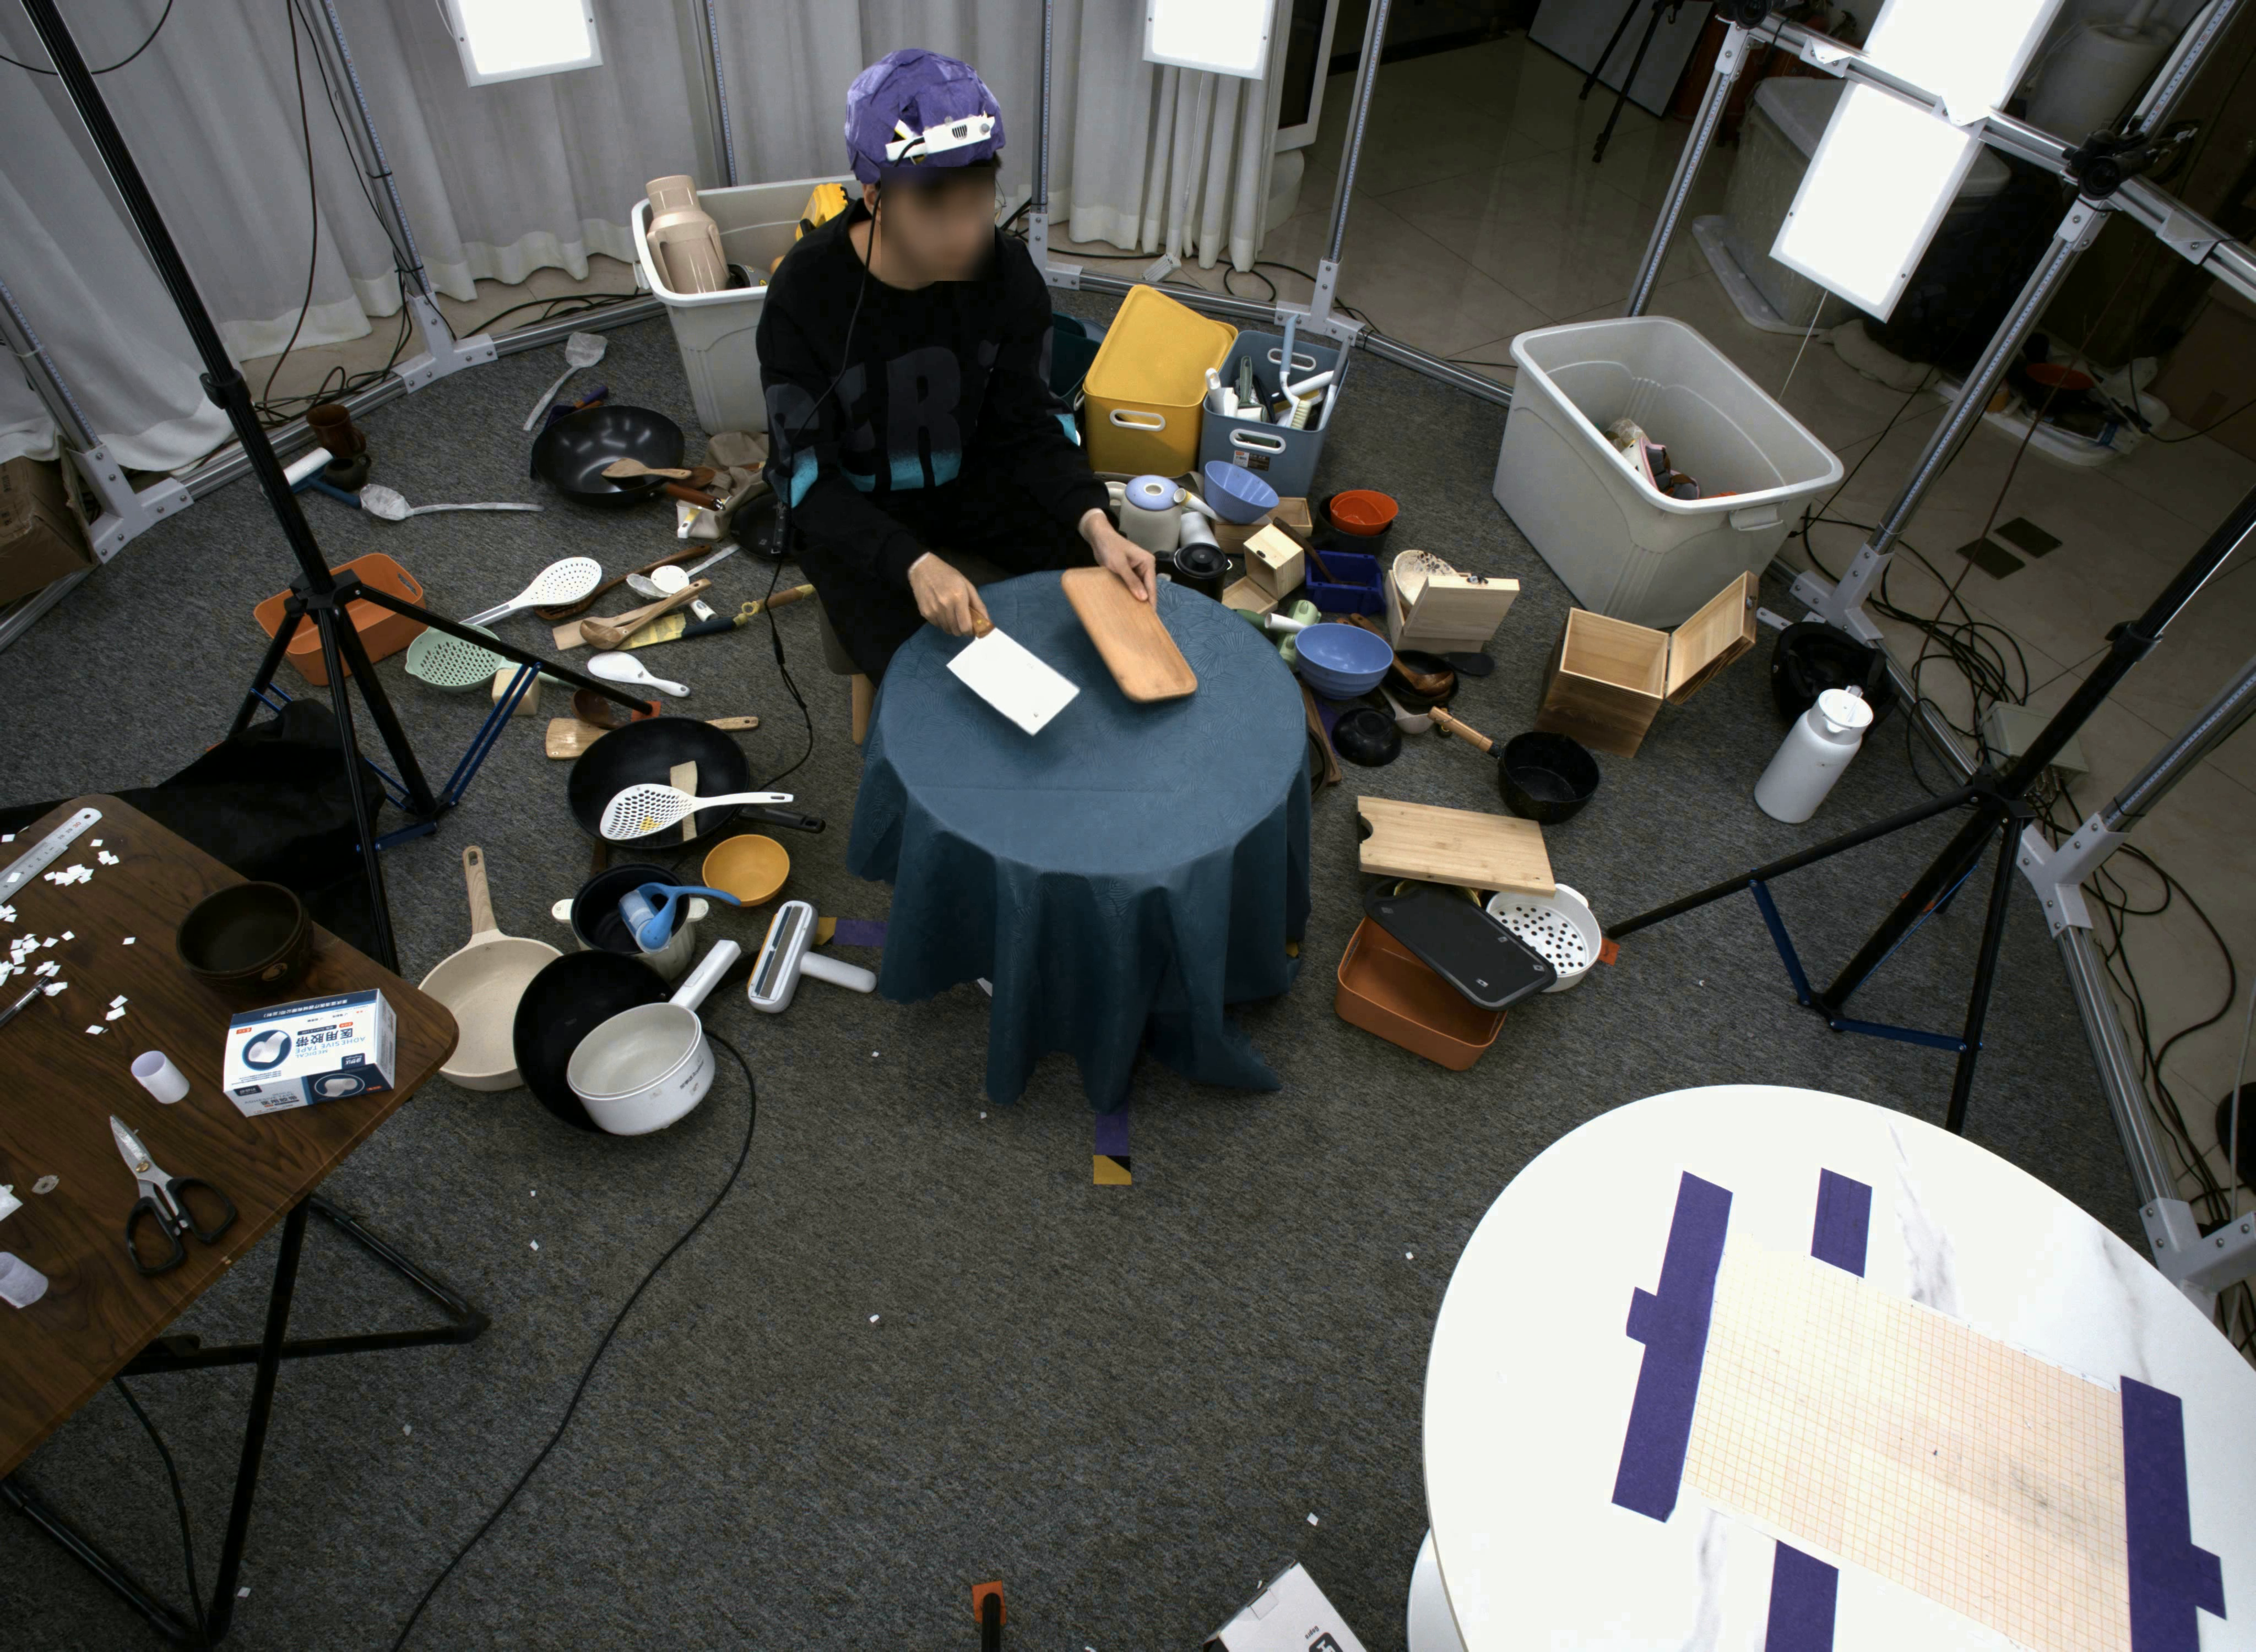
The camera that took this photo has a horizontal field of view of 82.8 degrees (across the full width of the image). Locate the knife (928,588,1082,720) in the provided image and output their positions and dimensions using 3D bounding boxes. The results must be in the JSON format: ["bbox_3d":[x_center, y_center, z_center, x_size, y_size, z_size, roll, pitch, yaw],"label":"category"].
[{"bbox_3d":[-0.193,-0.237,1.787,0.093,0.020,0.311,-45,58,-12],"label":"knife"}]

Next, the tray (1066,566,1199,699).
[{"bbox_3d":[0.004,-0.282,1.853,0.130,0.022,0.256,-5,54,-36],"label":"tray"}]
